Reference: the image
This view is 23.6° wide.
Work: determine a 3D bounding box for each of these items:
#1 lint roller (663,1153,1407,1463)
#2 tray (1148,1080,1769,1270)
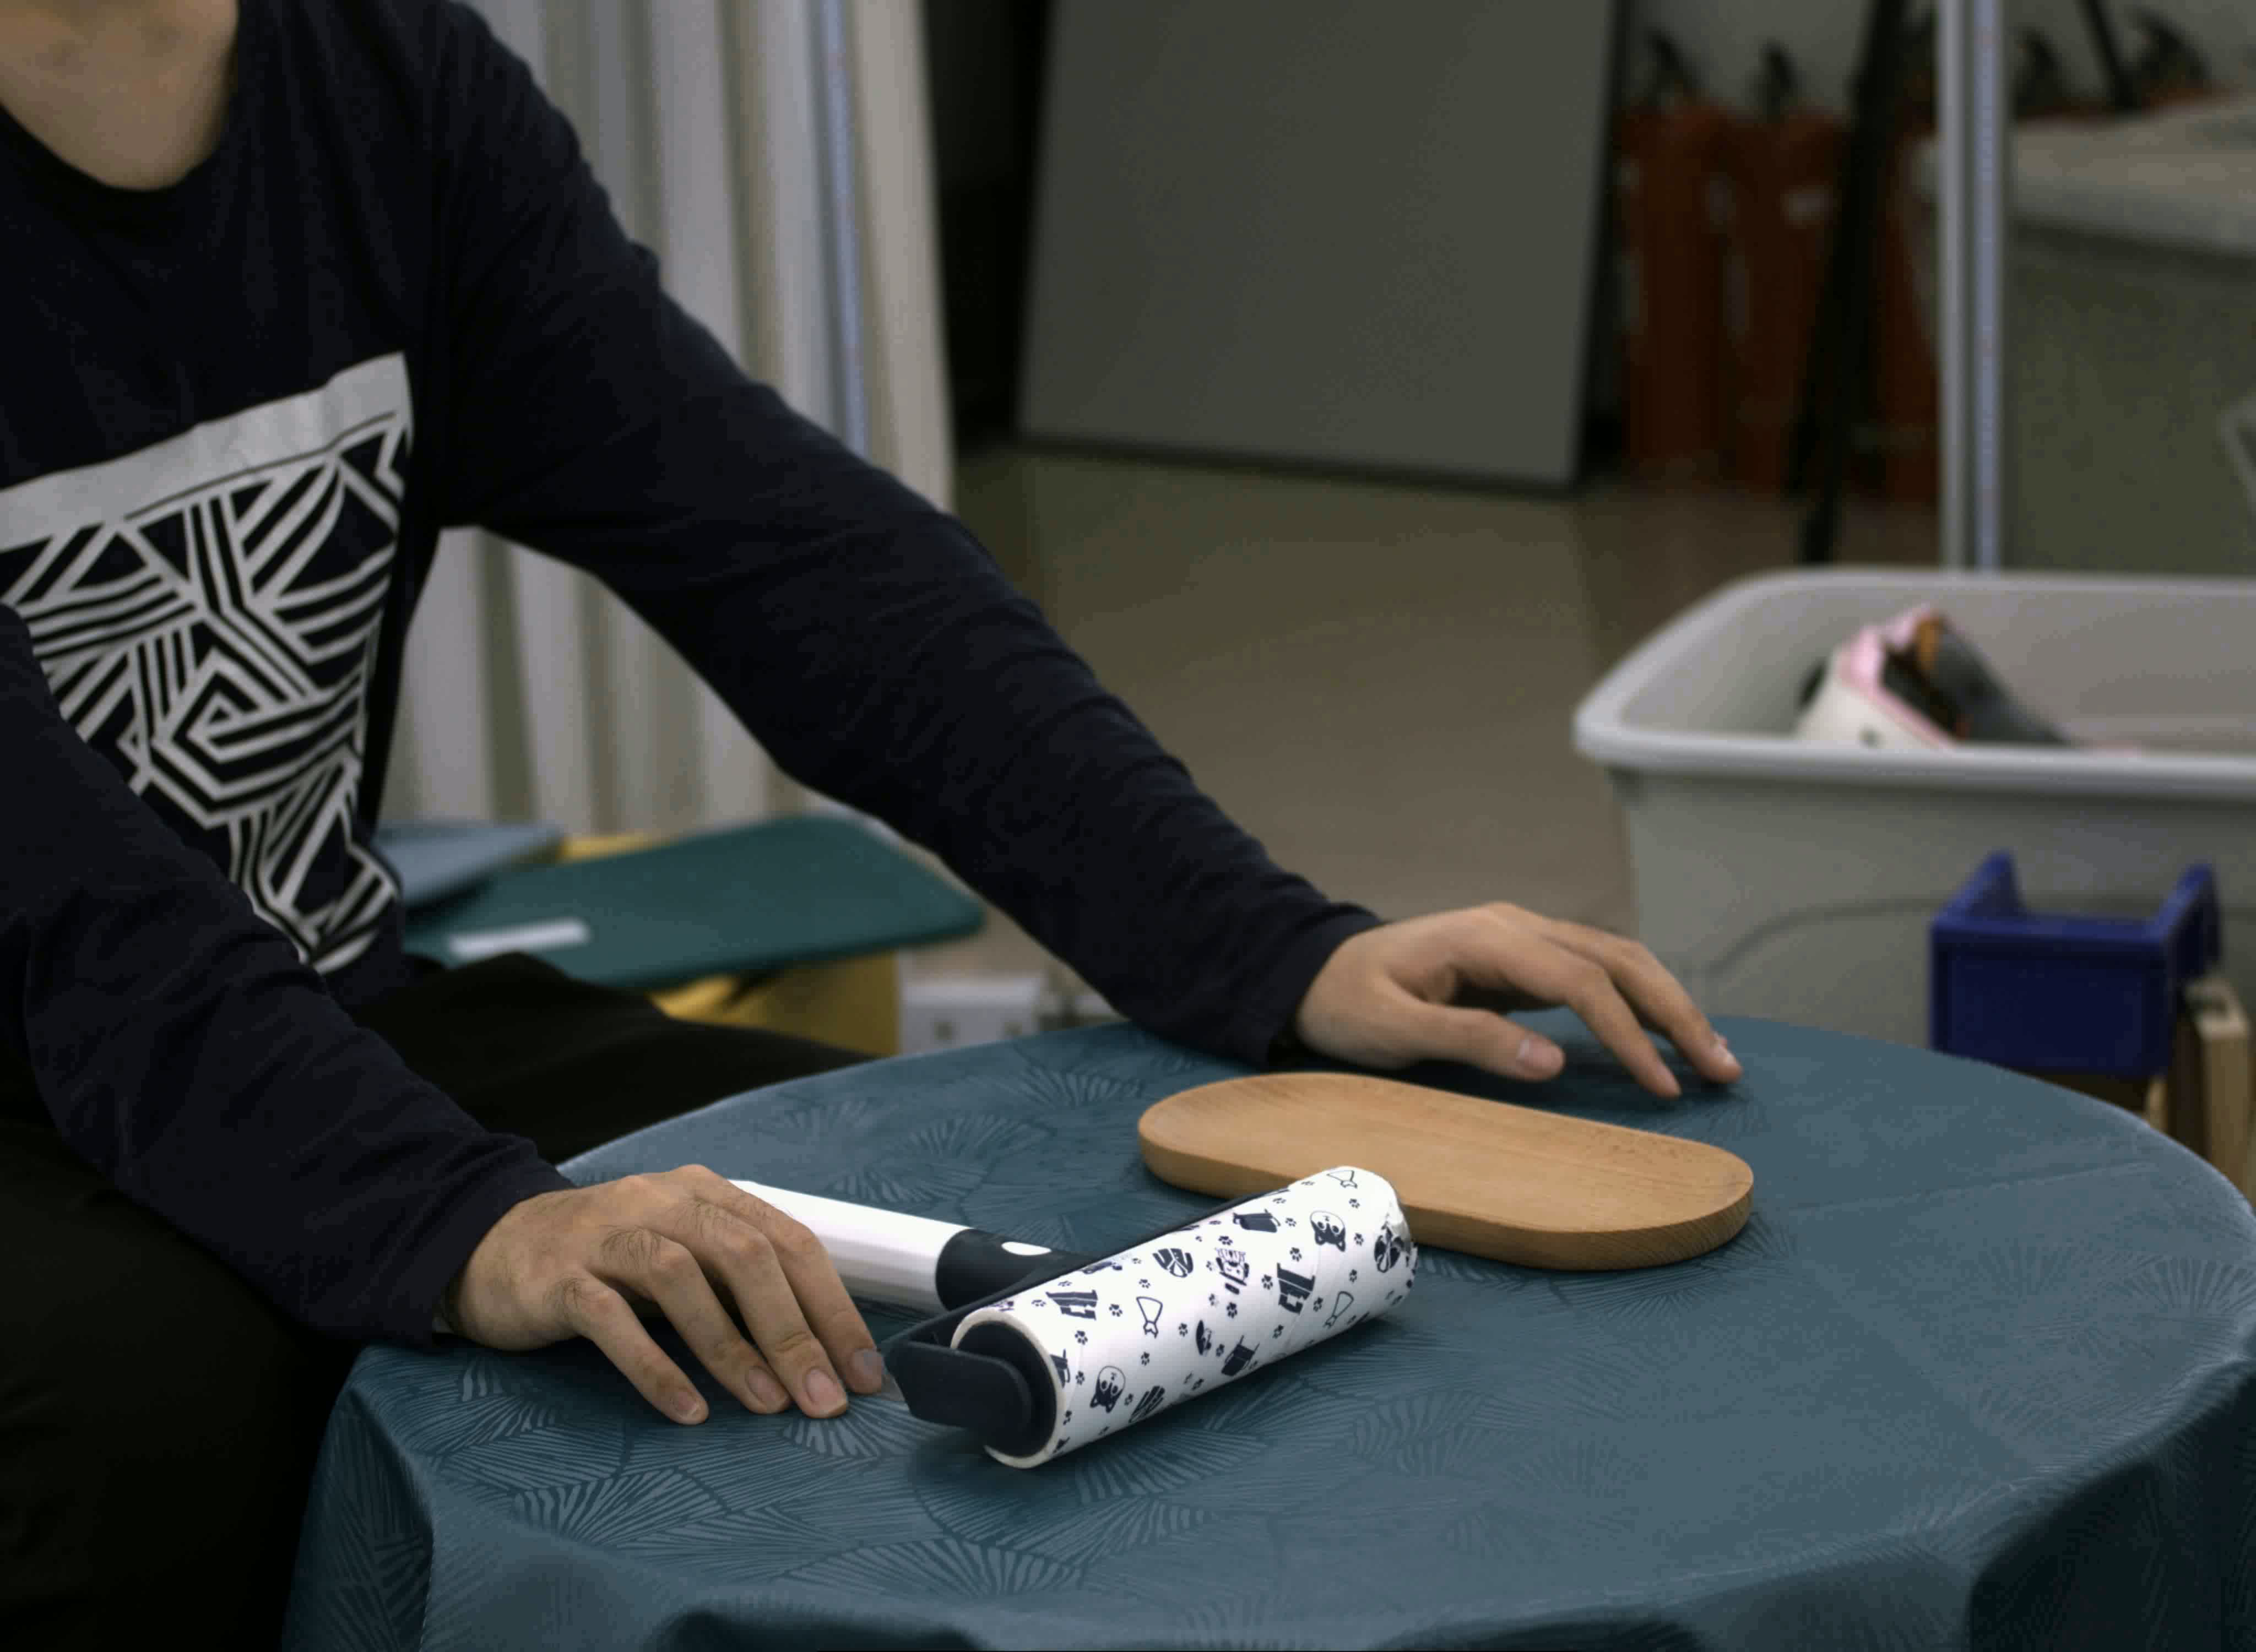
[{"bbox_3d":[-0.057,0.136,1.649,0.249,0.051,0.173,4,16,43],"label":"lint roller"},{"bbox_3d":[0.105,0.112,1.747,0.233,0.020,0.100,9,21,42],"label":"tray"}]
